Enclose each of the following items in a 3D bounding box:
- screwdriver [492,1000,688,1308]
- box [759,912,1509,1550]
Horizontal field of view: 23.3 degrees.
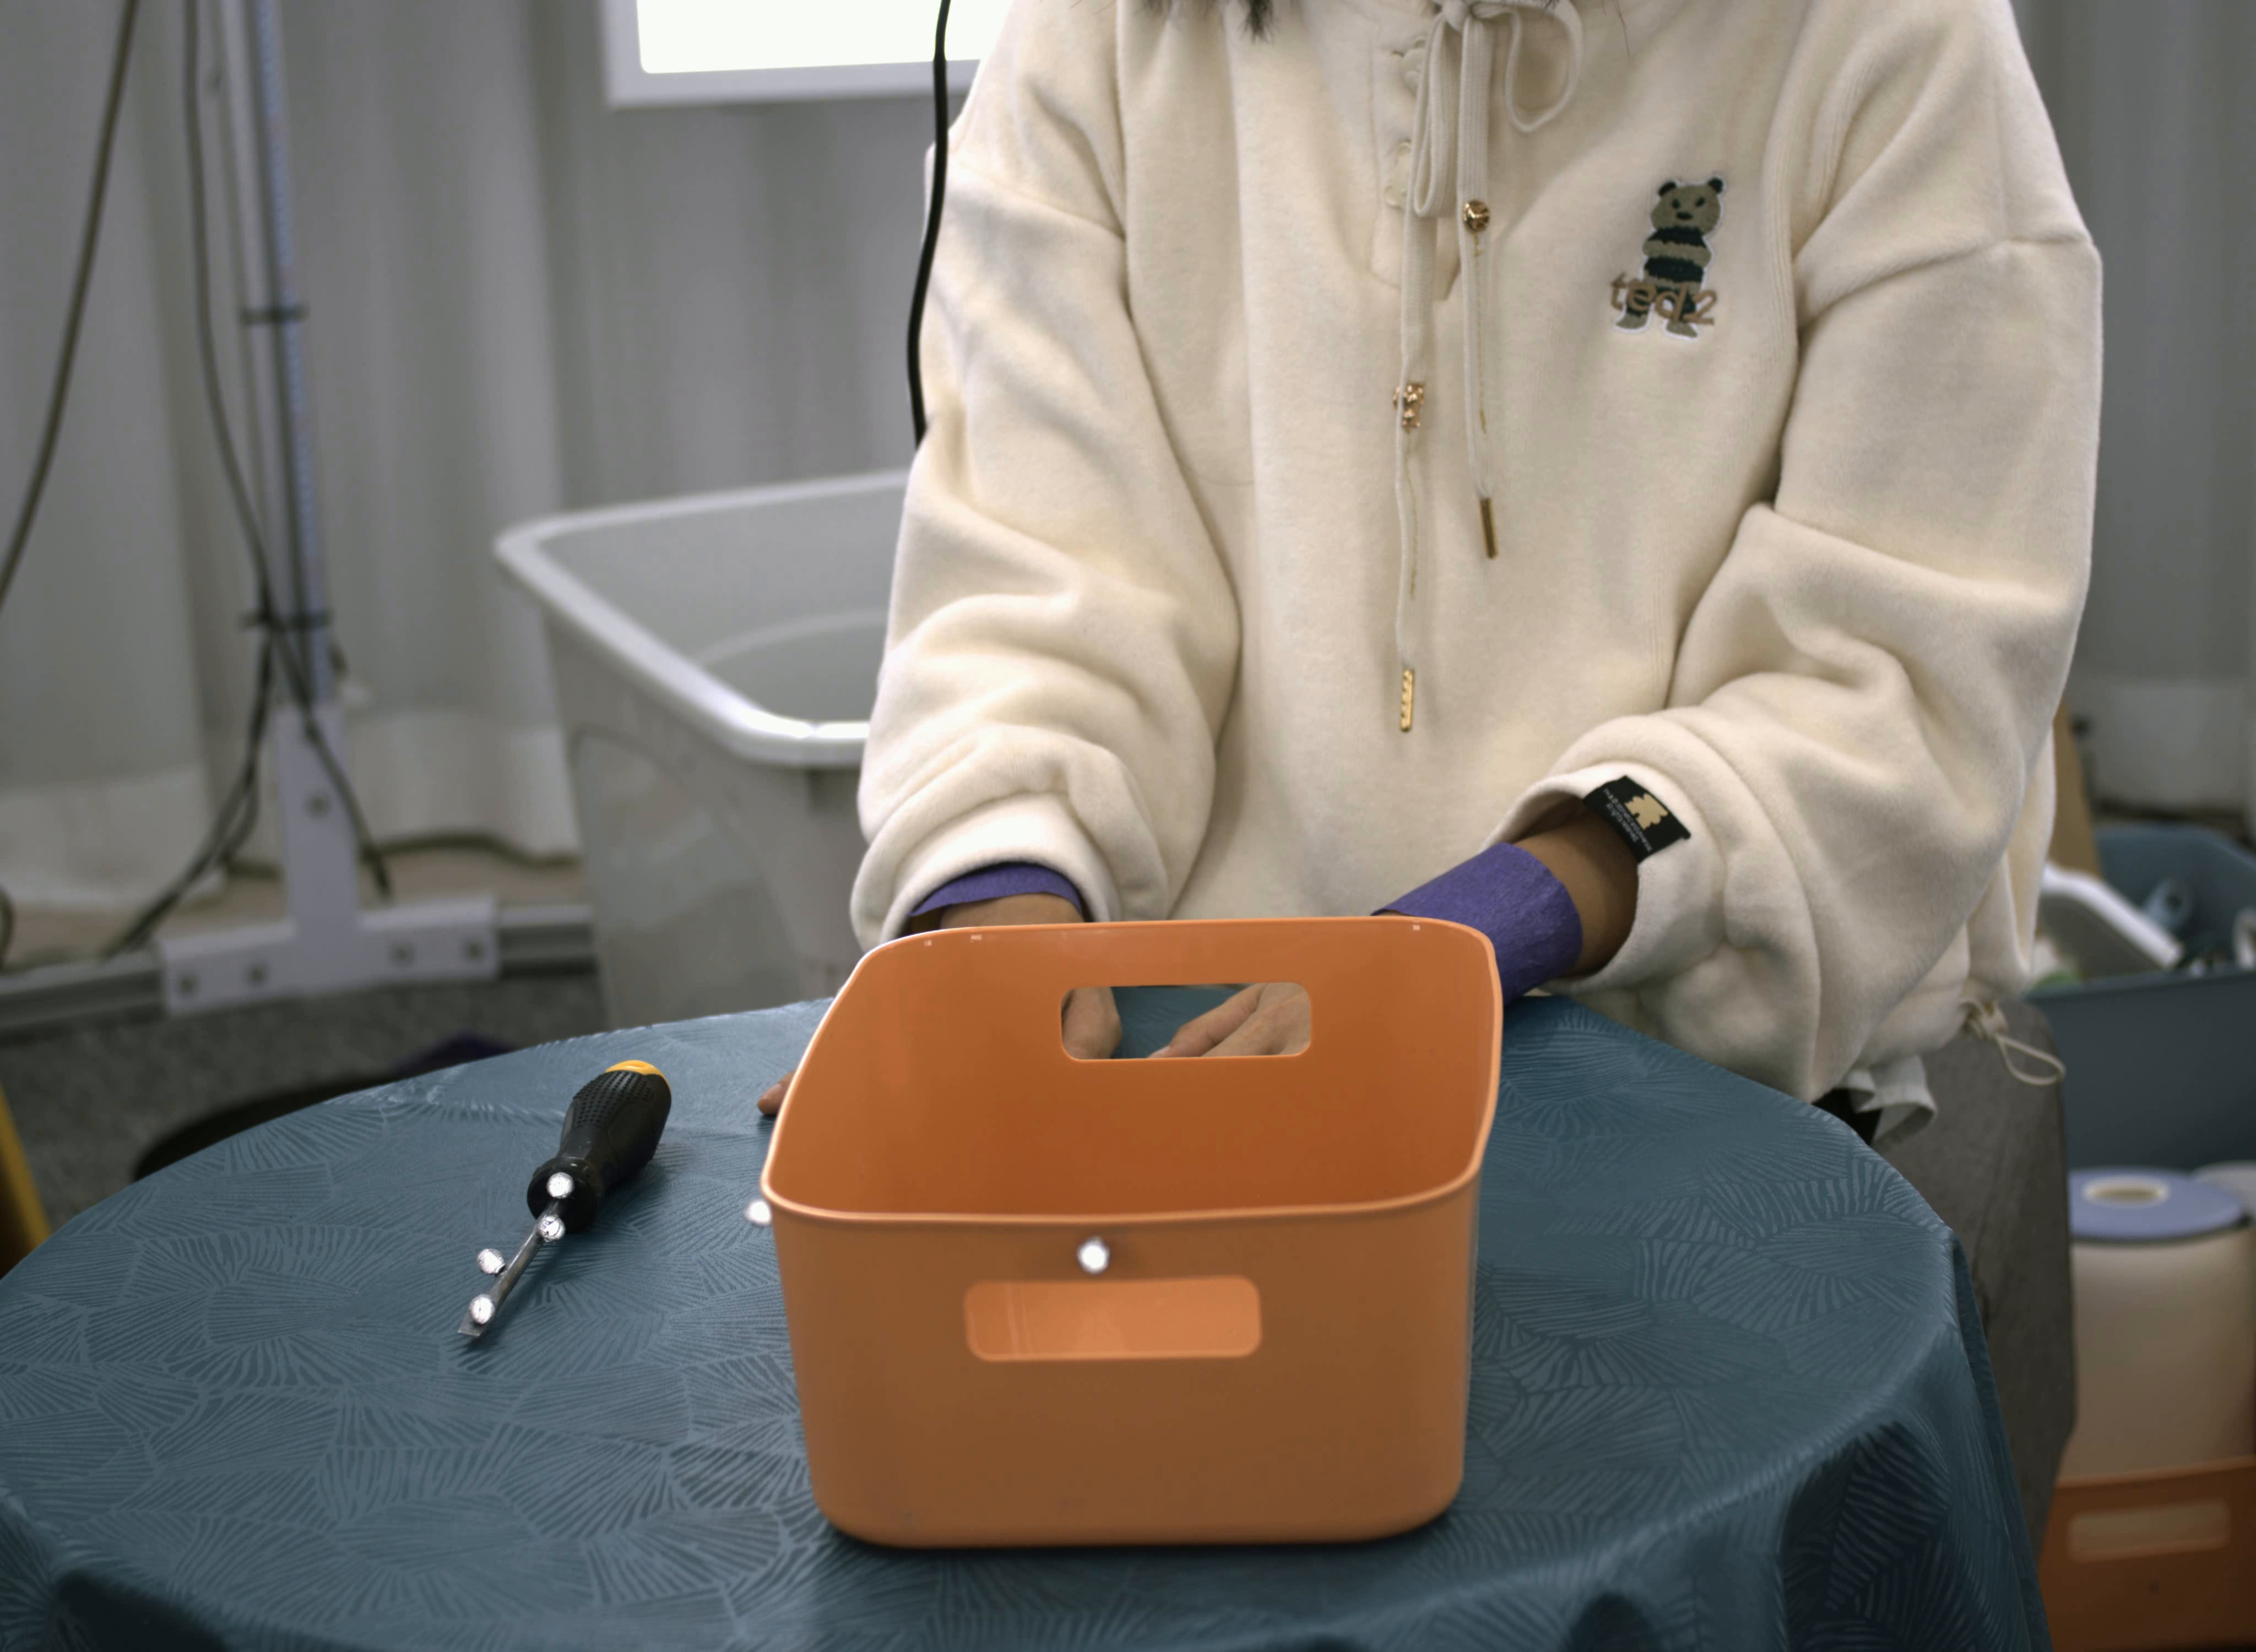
[{"bbox_3d":[-0.166,0.104,1.700,0.031,0.031,0.200,-1,24,7],"label":"screwdriver"},{"bbox_3d":[0.009,0.110,1.527,0.199,0.102,0.275,-2,15,5],"label":"box"}]
